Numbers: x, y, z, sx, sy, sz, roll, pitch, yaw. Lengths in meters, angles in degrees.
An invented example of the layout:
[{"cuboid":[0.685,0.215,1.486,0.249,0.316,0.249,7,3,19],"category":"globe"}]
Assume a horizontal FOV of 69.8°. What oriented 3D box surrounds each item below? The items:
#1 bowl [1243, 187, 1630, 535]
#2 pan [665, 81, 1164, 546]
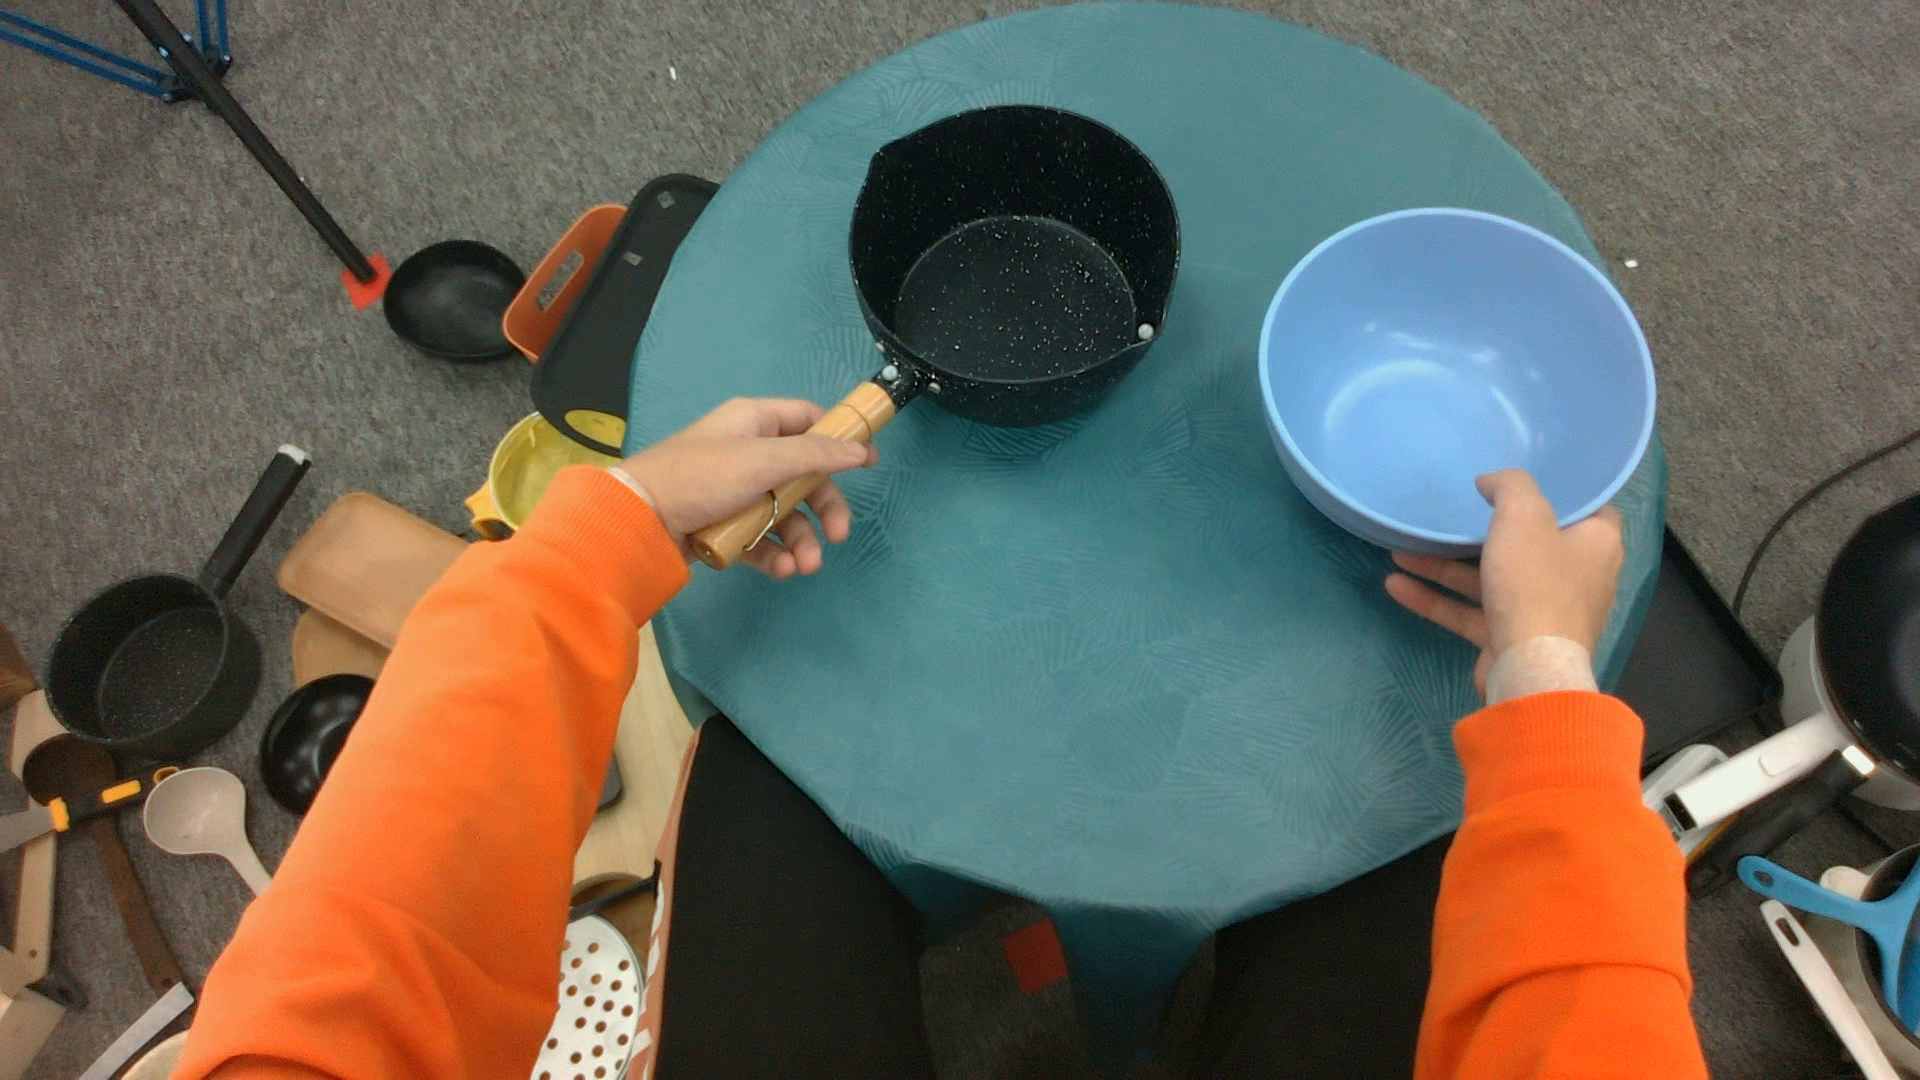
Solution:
[{"cuboid":[0.244,-0.083,0.747,0.196,0.095,0.197,0,67,1],"category":"bowl"},{"cuboid":[-0.028,-0.108,0.760,0.207,0.108,0.344,35,71,14],"category":"pan"}]
